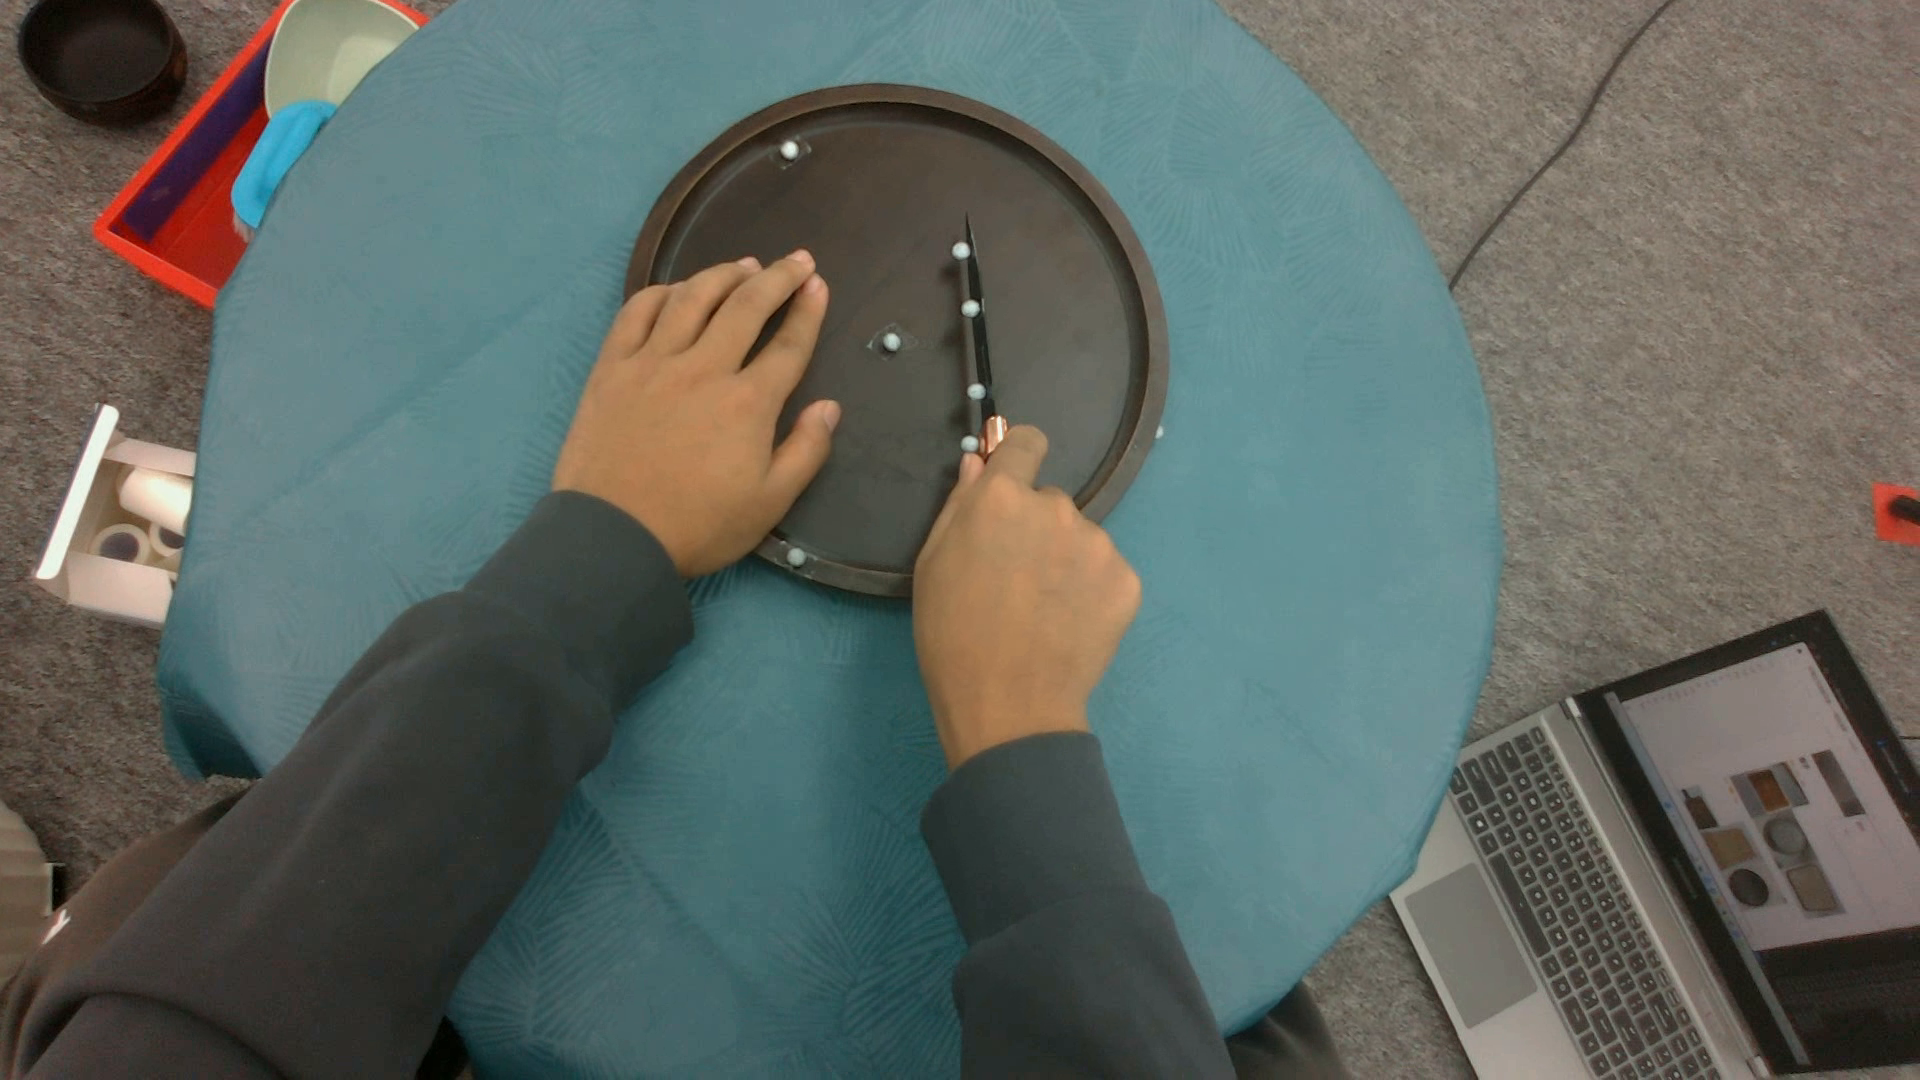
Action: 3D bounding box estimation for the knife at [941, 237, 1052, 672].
[{"bbox_3d":[0.014,-0.046,0.629,0.017,0.026,0.226,-5,69,-16],"label":"knife"}]

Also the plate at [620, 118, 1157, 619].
[{"bbox_3d":[-0.031,-0.085,0.653,0.255,0.029,0.255,3,74,-10],"label":"plate"}]
